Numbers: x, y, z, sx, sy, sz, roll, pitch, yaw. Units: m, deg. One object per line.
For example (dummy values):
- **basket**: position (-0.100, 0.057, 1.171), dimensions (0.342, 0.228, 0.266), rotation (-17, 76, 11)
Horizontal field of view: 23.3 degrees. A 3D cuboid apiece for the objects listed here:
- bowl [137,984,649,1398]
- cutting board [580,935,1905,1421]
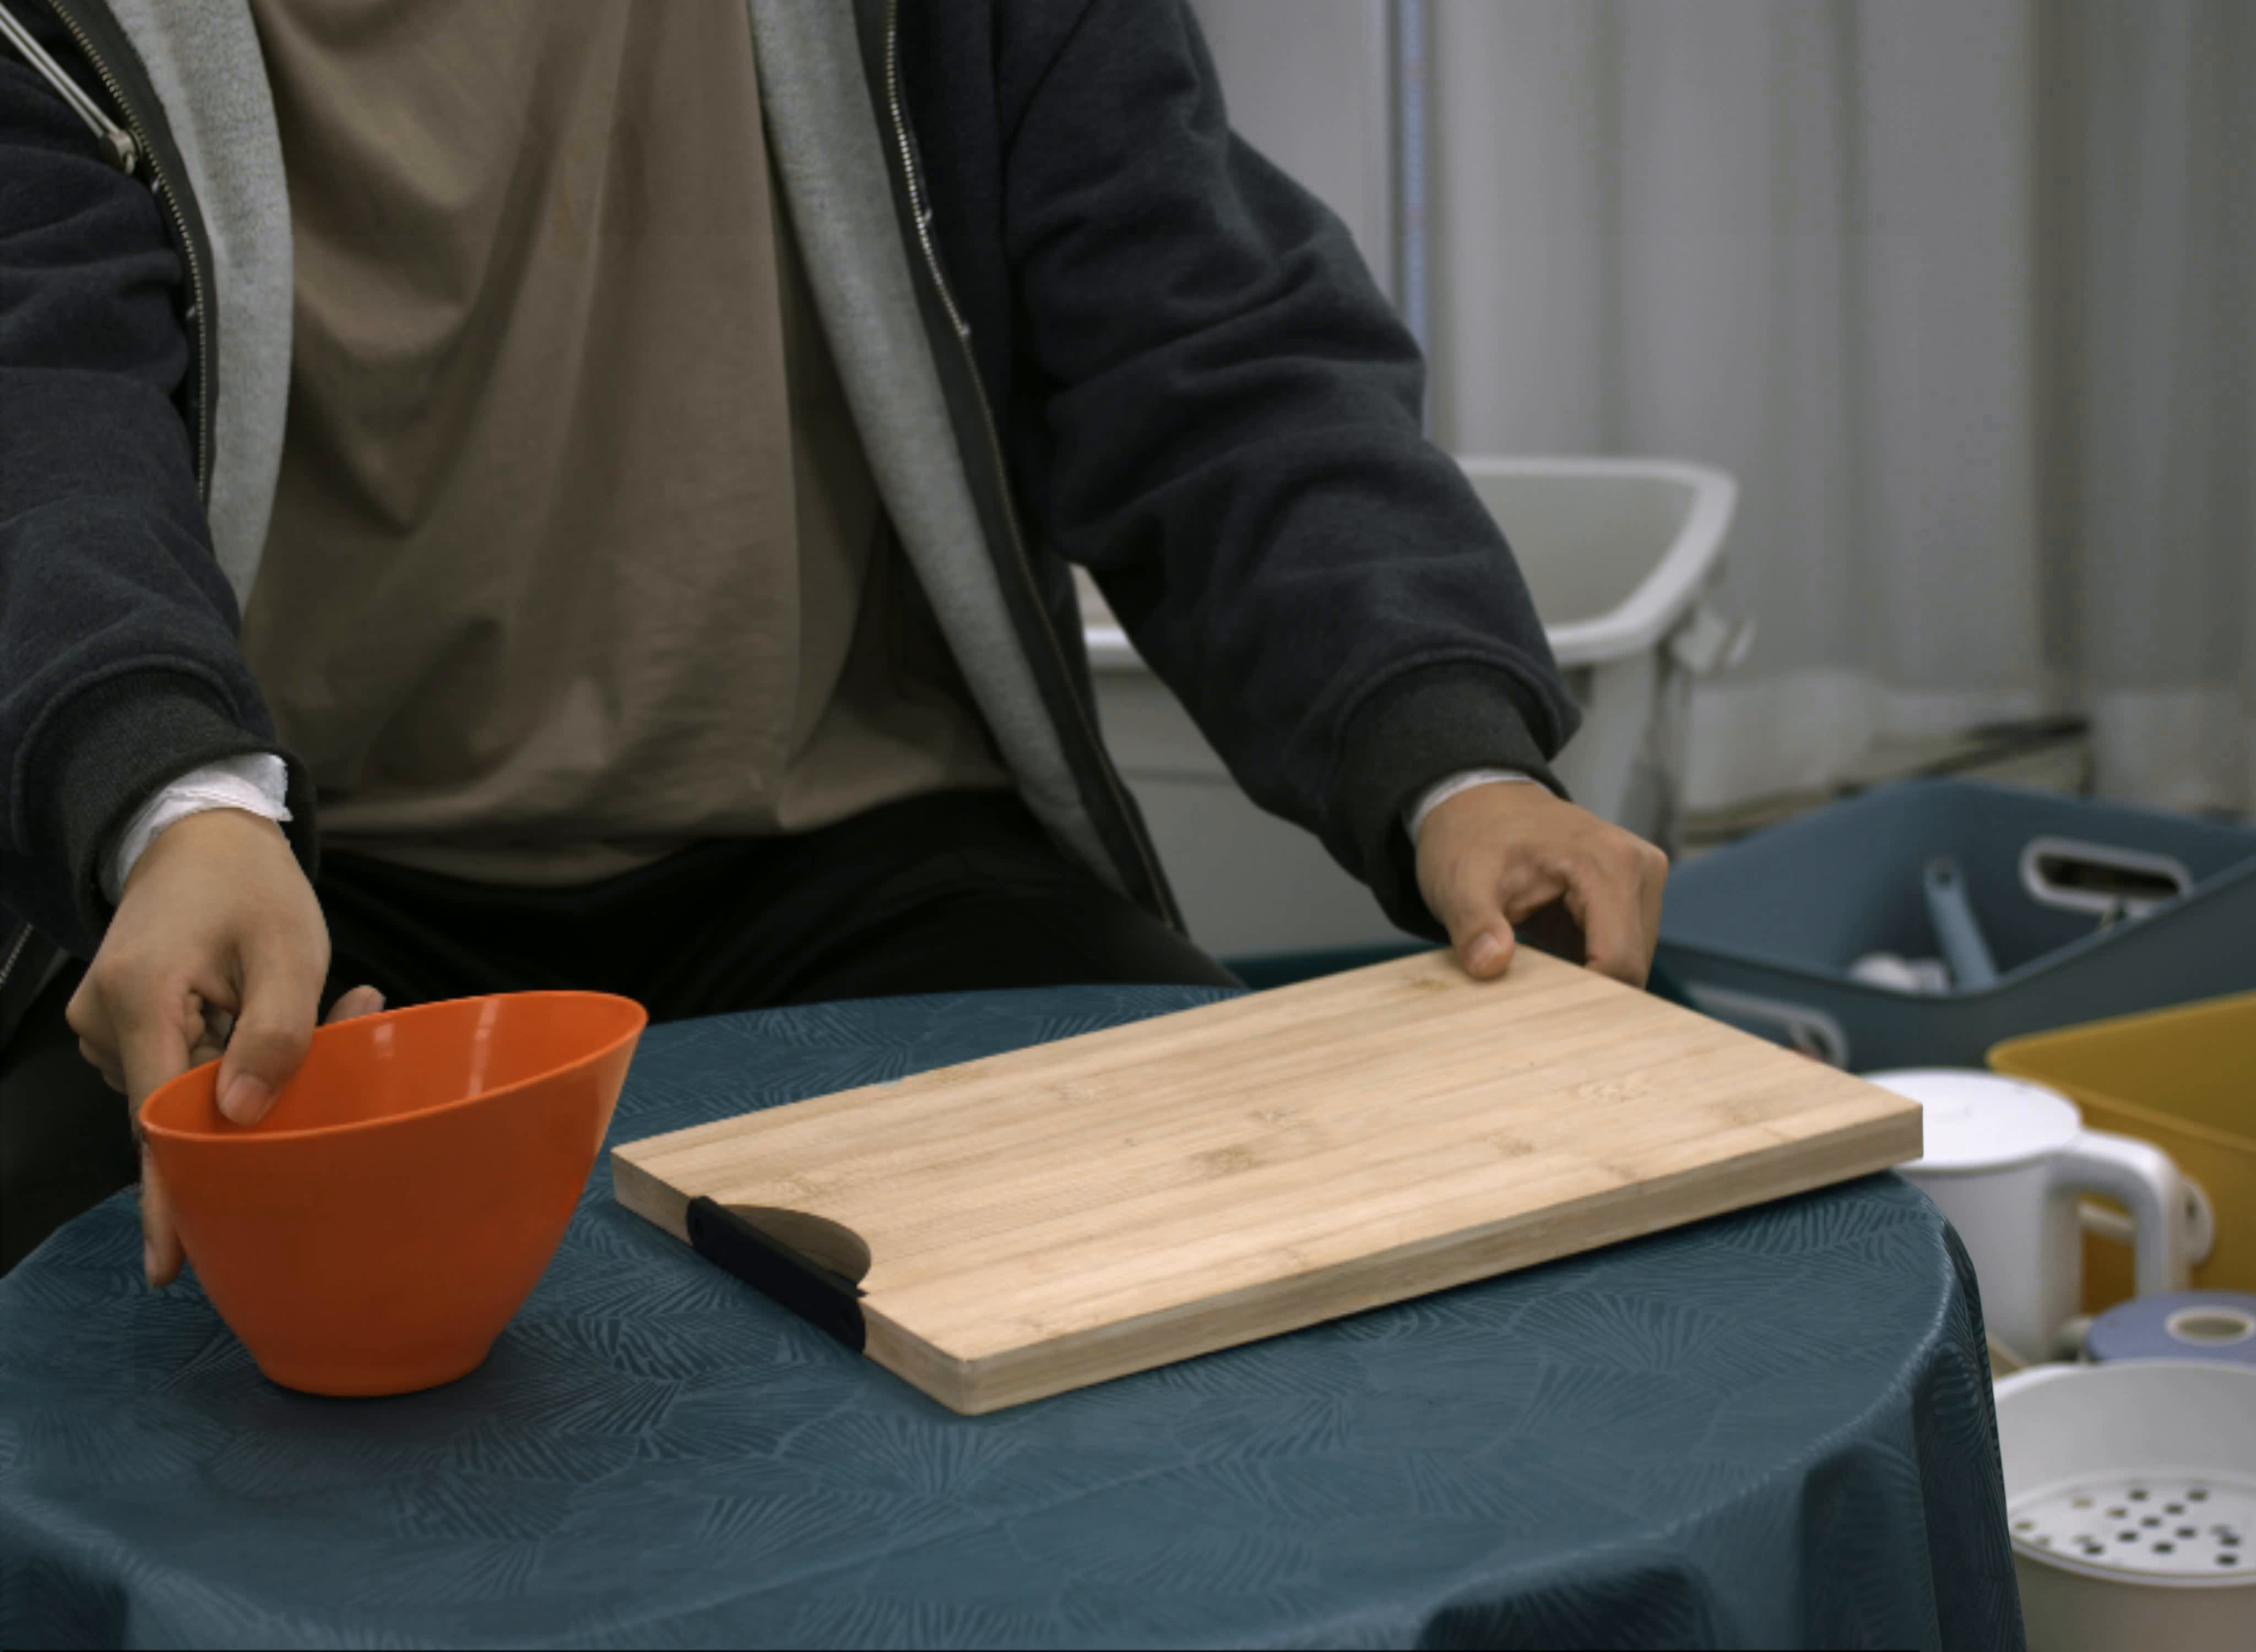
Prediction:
- **bowl**: position (-0.211, 0.107, 1.584), dimensions (0.147, 0.104, 0.149), rotation (0, 16, 0)
- **cutting board**: position (0.035, 0.103, 1.706), dimensions (0.347, 0.023, 0.252), rotation (-13, 17, -28)
